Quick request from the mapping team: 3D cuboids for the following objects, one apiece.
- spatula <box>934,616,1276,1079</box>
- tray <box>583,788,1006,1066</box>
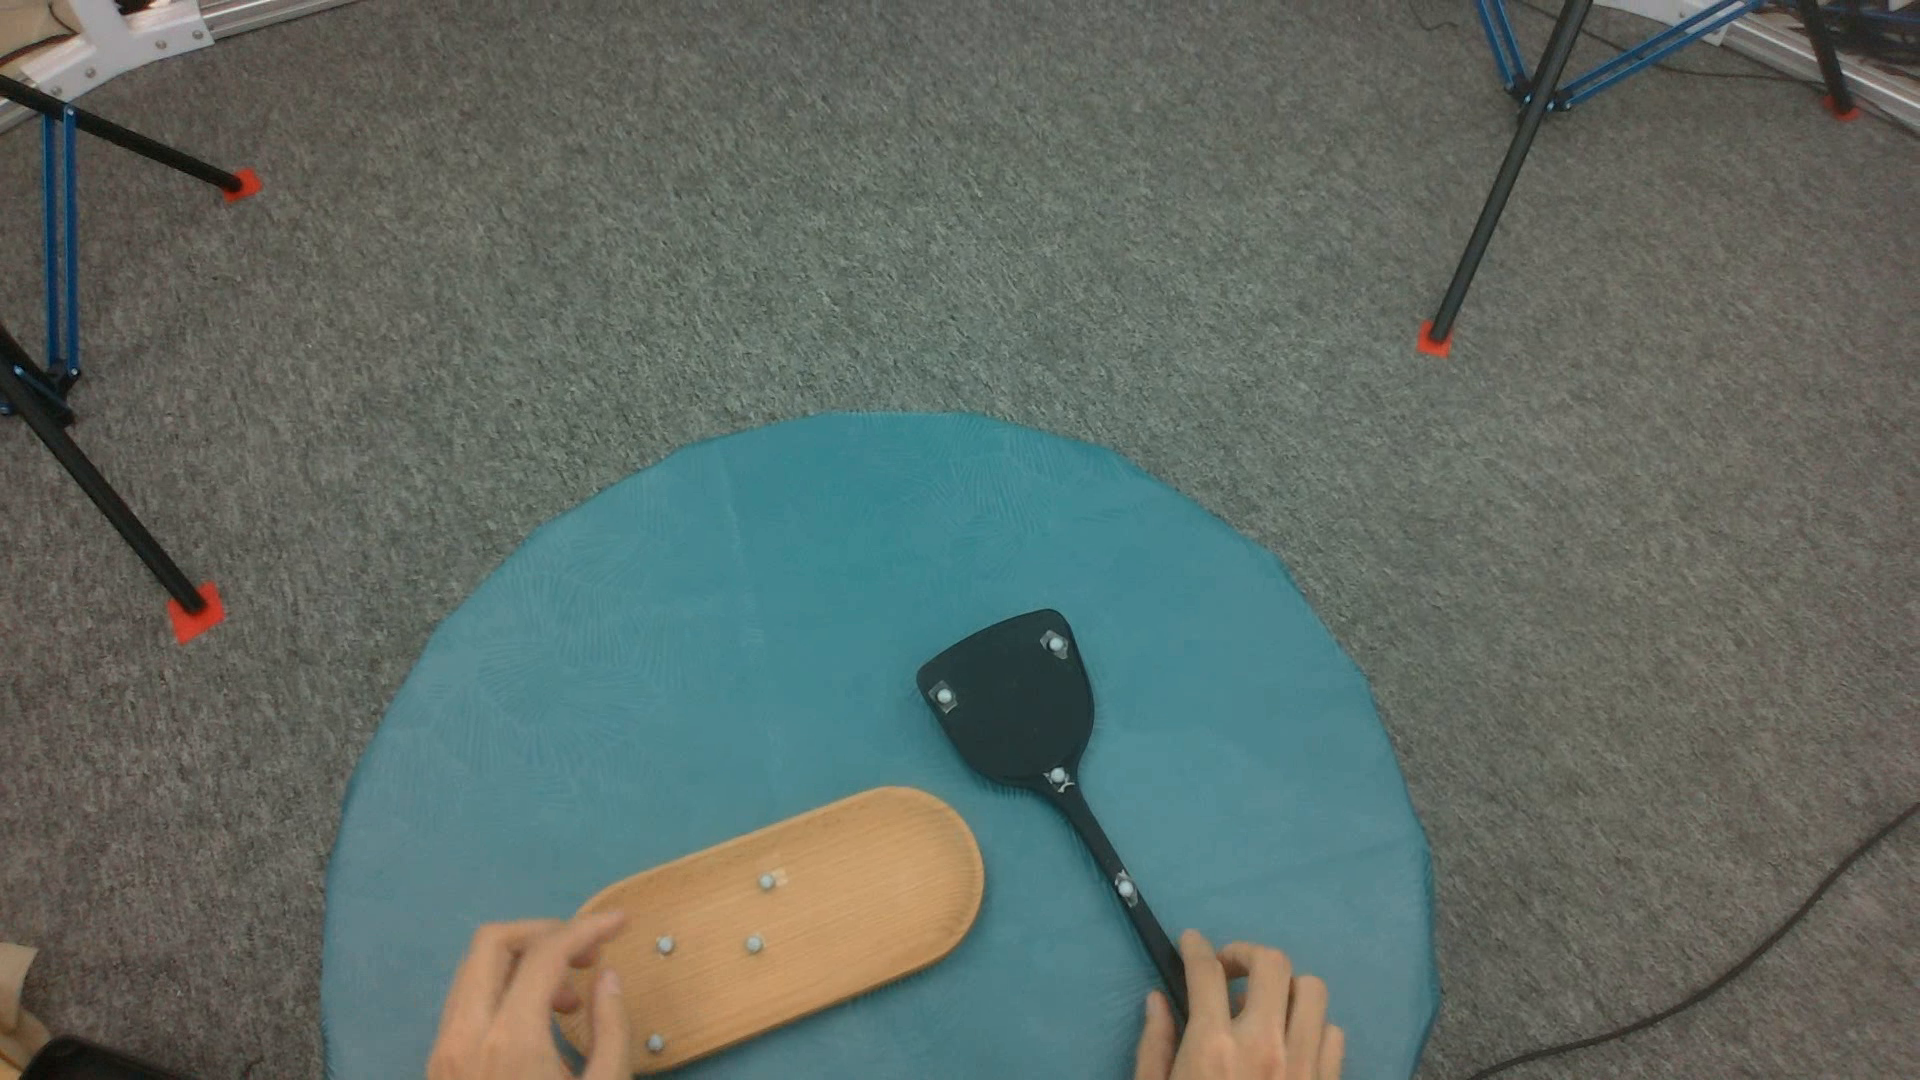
[{"bbox_3d":[0.098,0.187,0.744,0.100,0.040,0.327,-24,60,-15],"label":"spatula"},{"bbox_3d":[-0.087,0.206,0.742,0.231,0.020,0.102,-17,59,-13],"label":"tray"}]
